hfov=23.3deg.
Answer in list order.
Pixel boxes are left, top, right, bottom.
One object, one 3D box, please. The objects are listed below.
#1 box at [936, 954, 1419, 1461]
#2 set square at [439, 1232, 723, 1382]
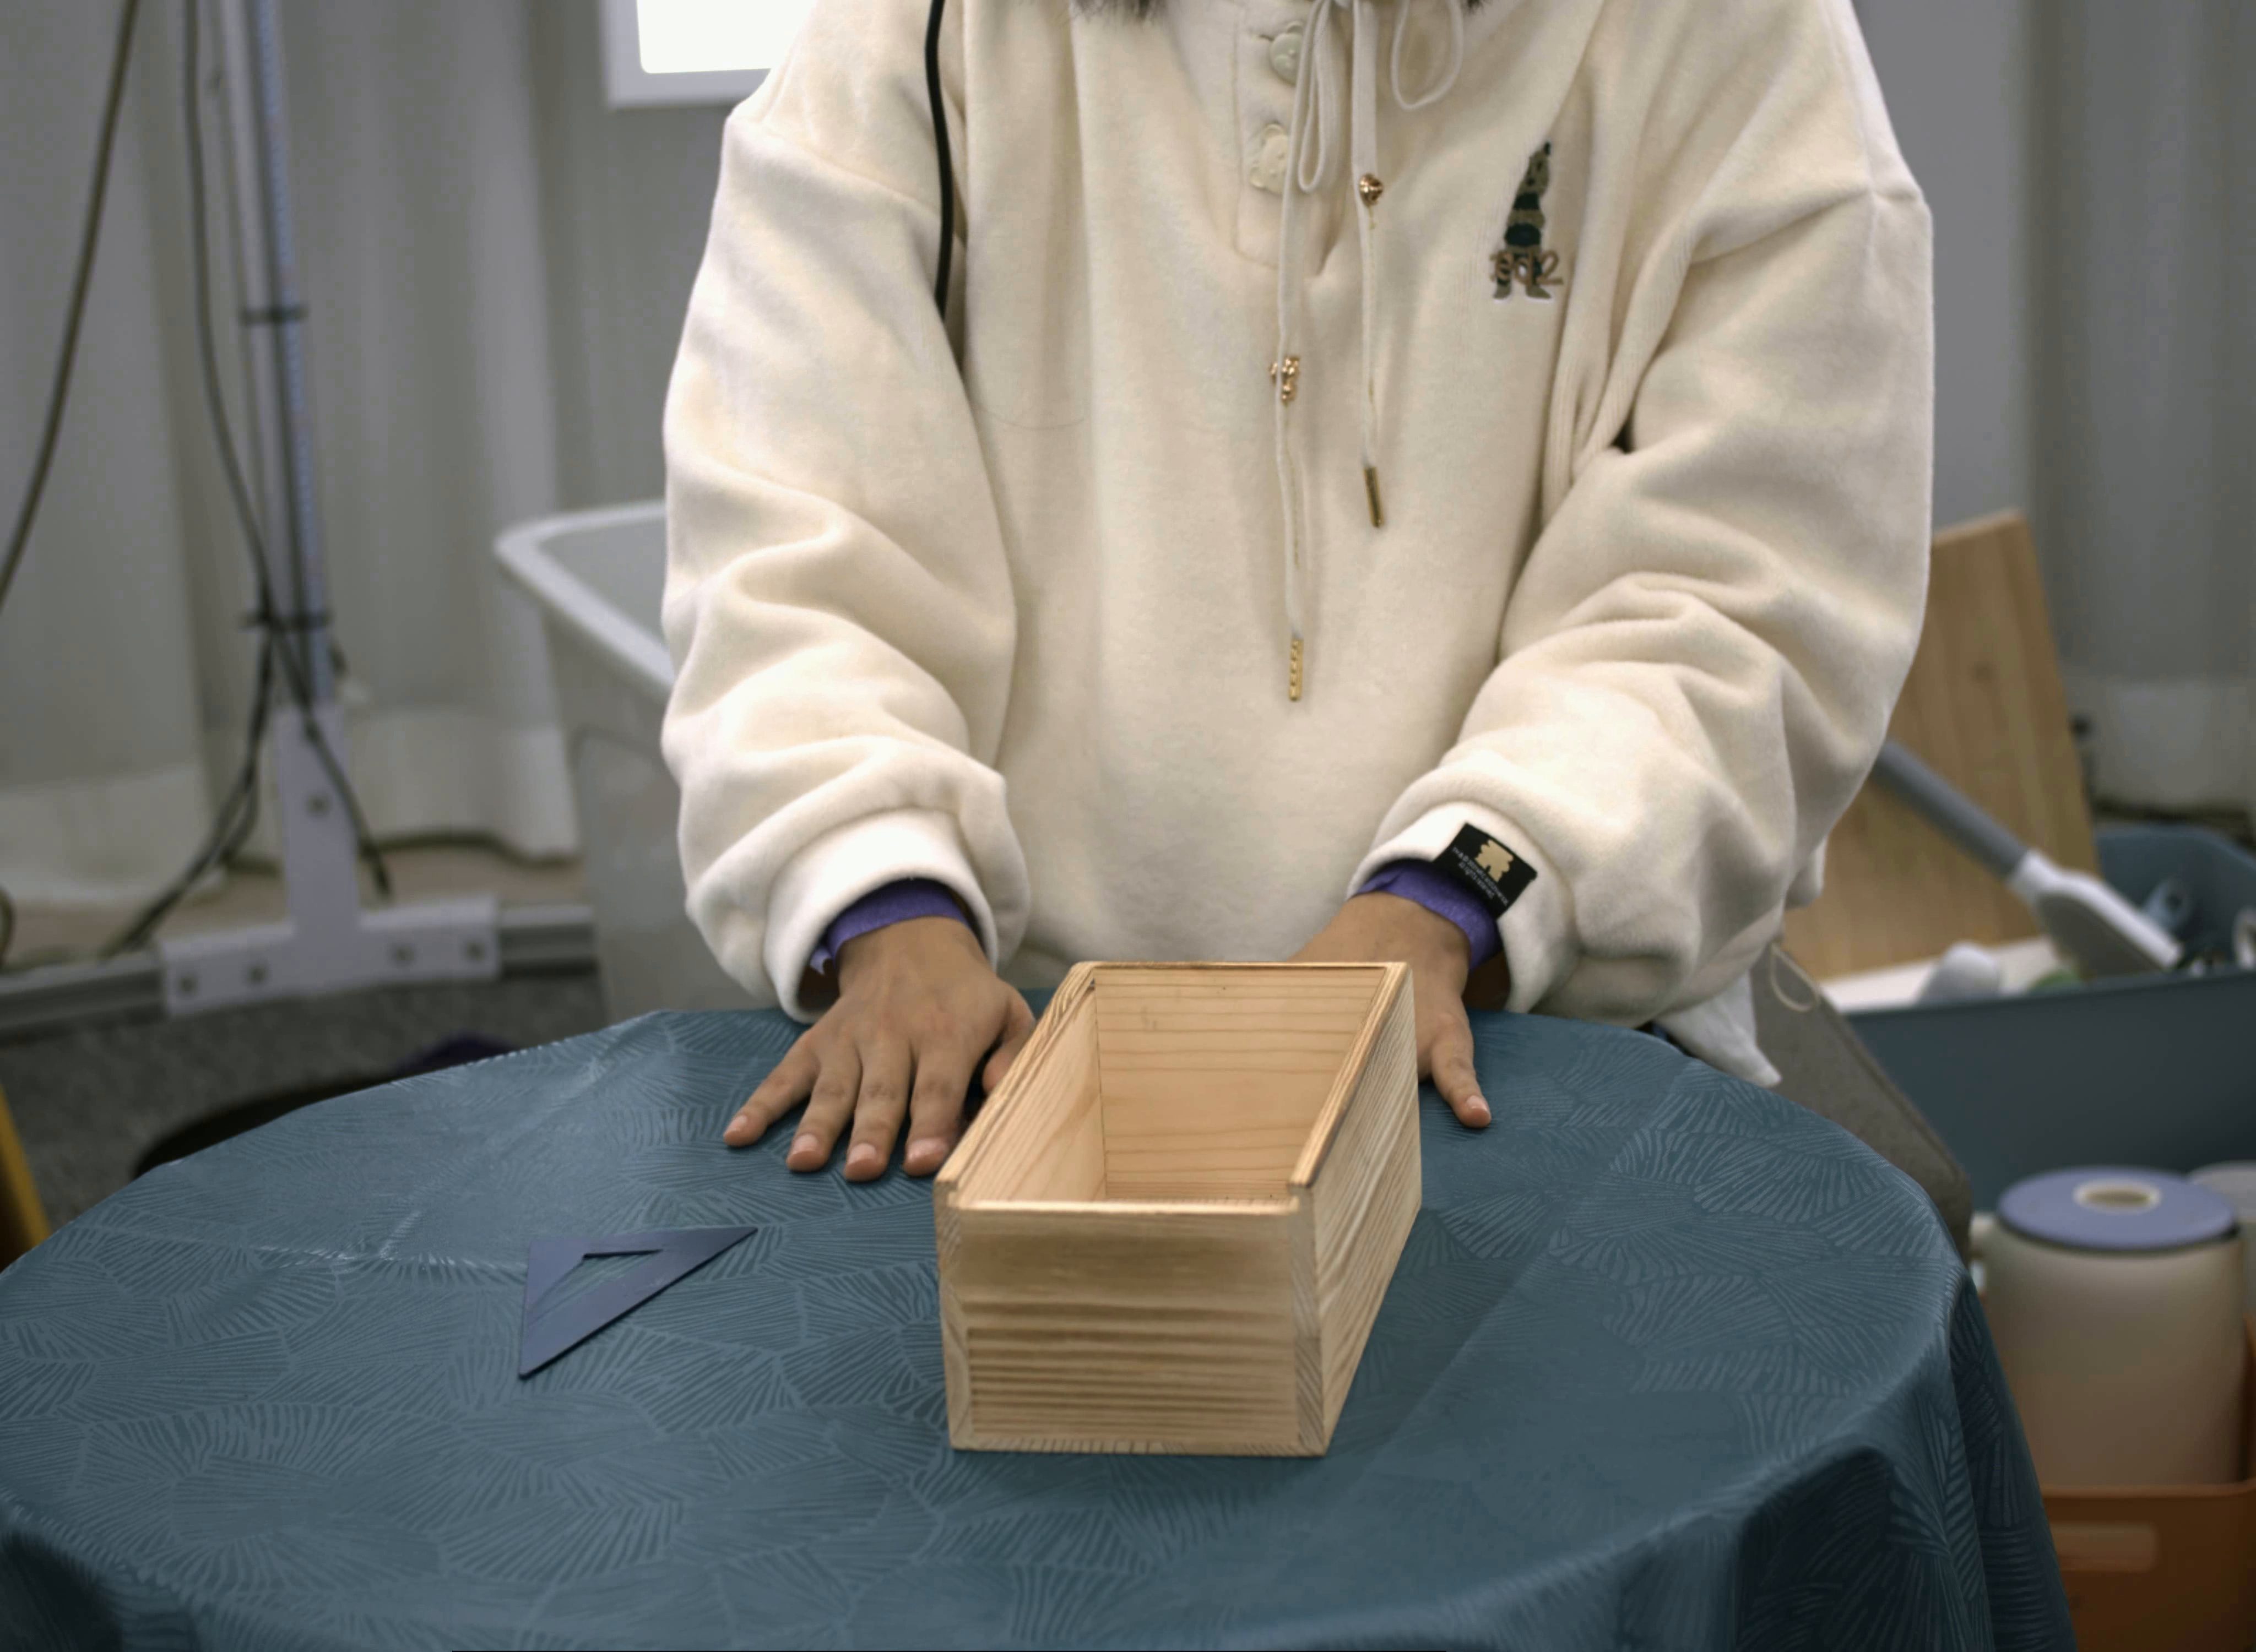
[{"bbox_3d":[0.019,0.106,1.587,0.107,0.080,0.212,0,15,10],"label":"box"},{"bbox_3d":[-0.181,0.141,1.643,0.061,0.006,0.132,7,17,30],"label":"set square"}]
